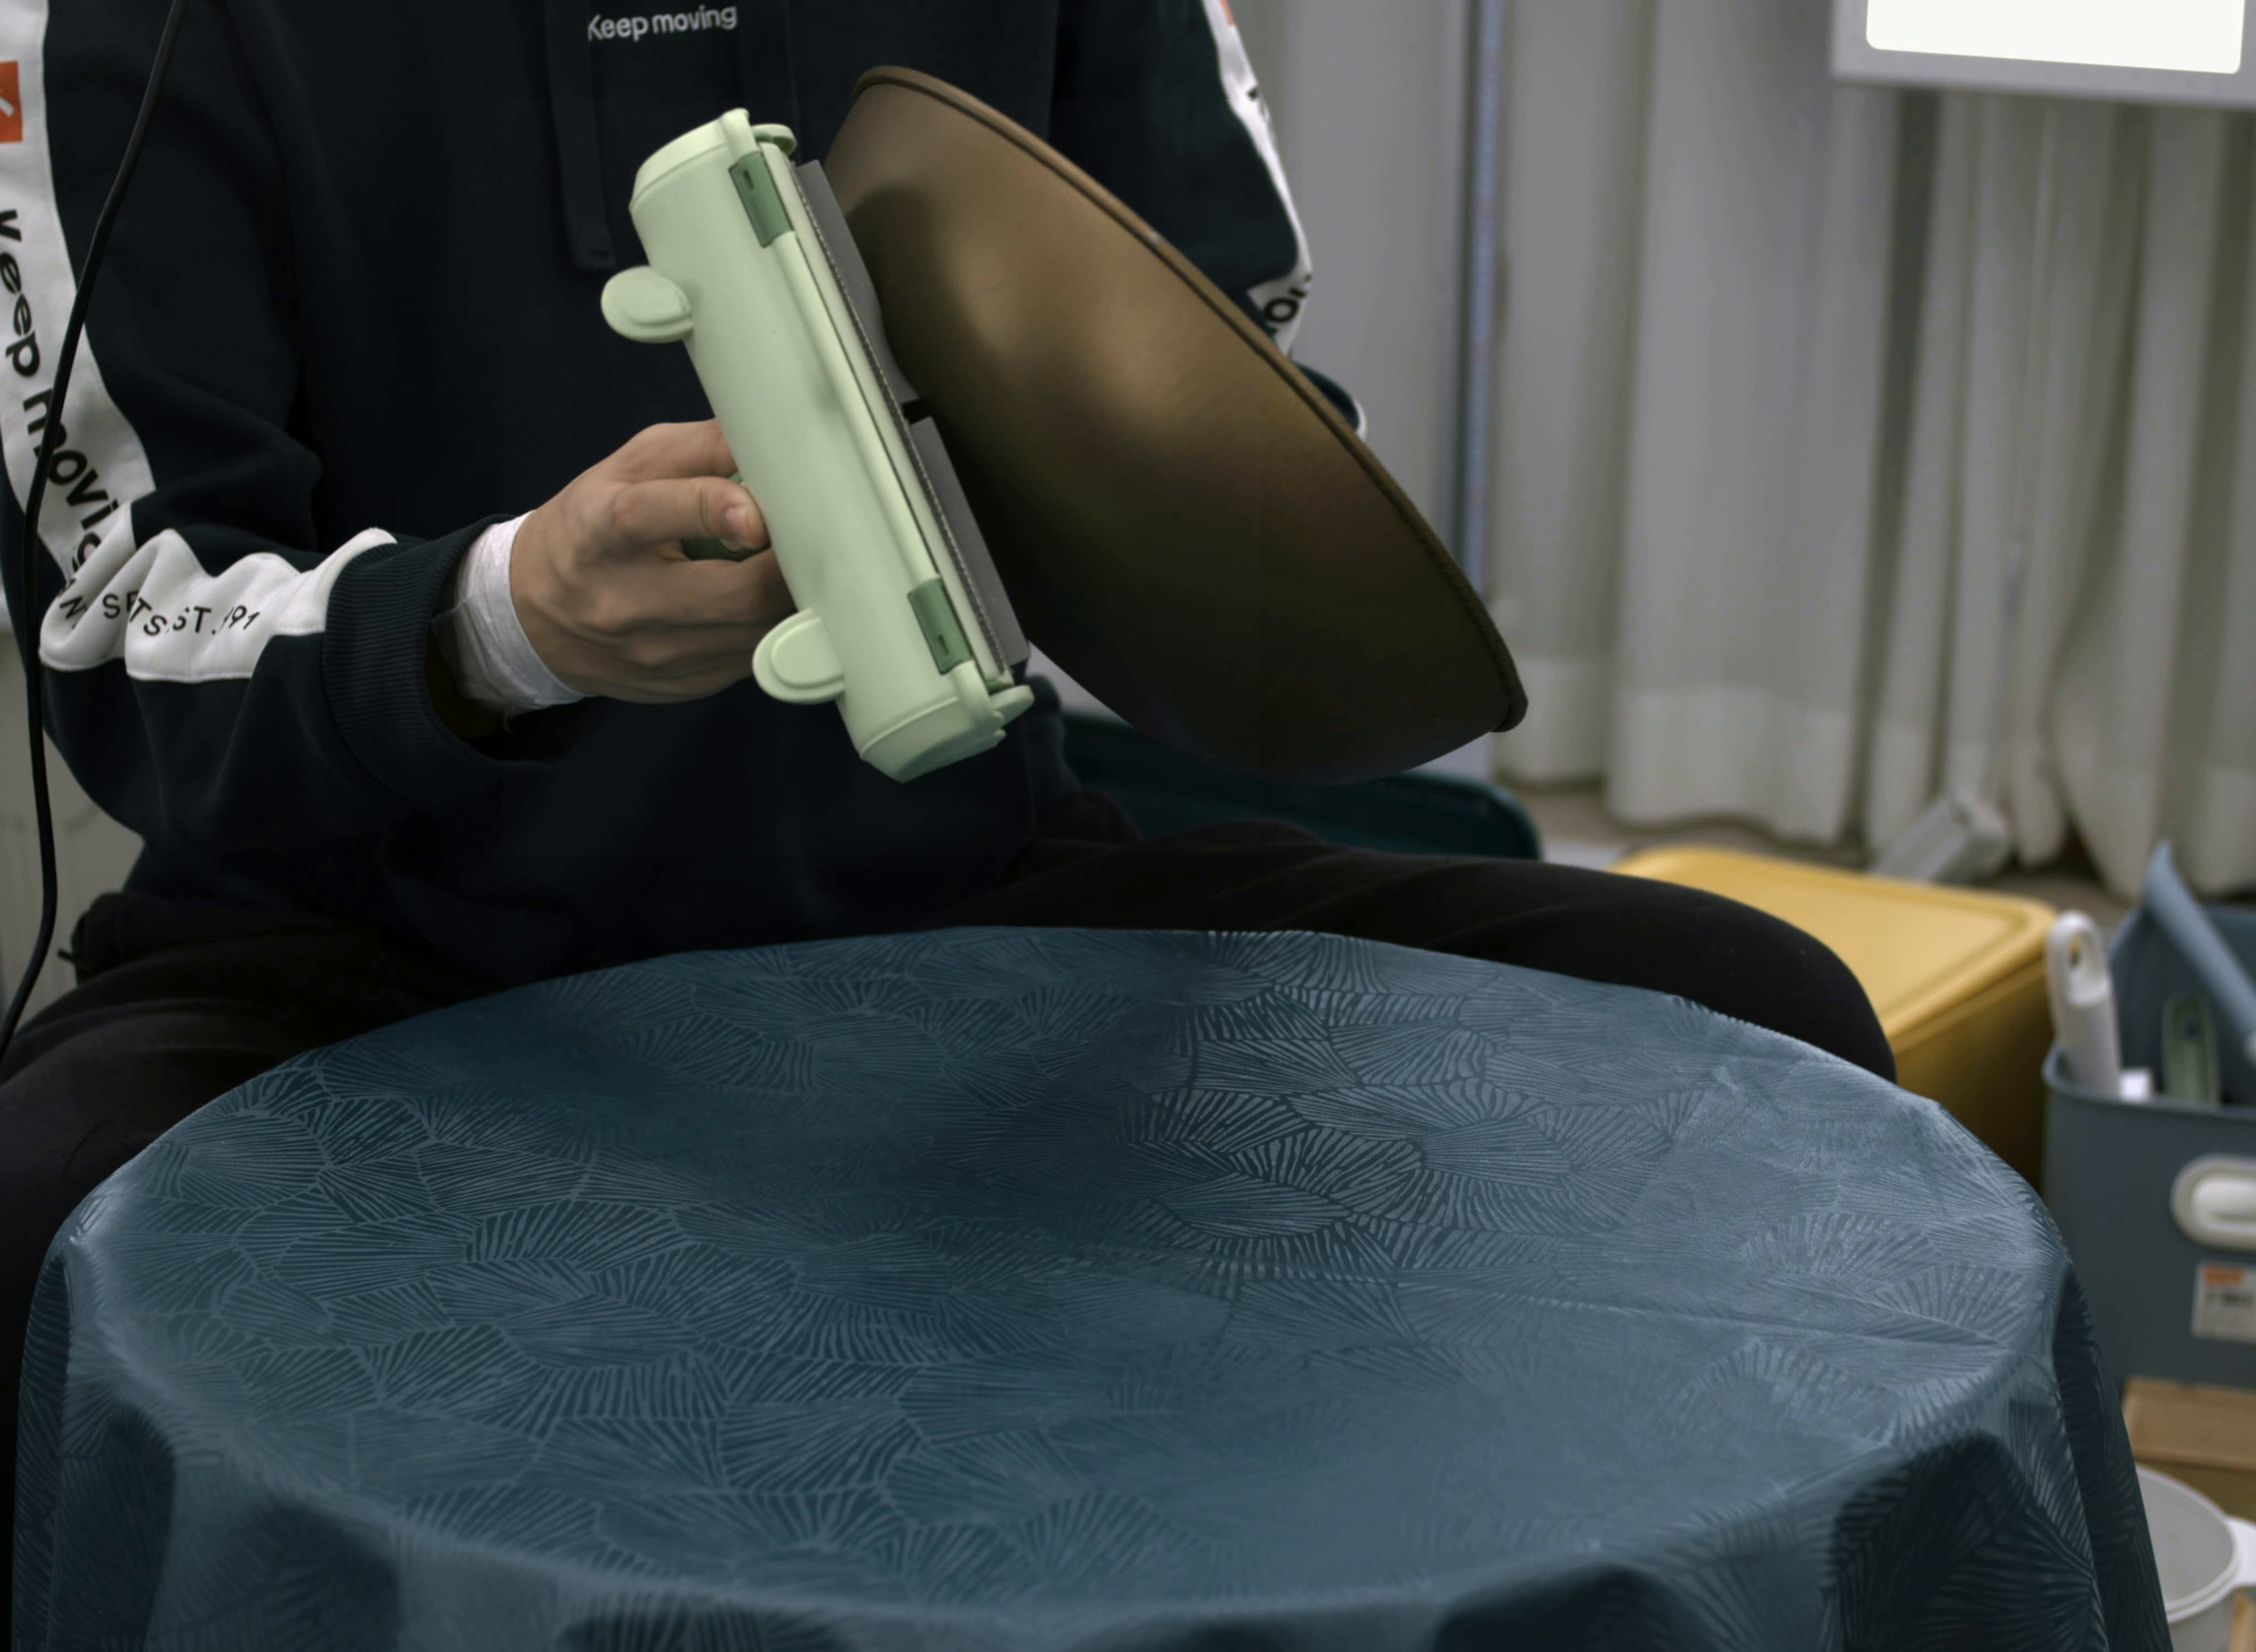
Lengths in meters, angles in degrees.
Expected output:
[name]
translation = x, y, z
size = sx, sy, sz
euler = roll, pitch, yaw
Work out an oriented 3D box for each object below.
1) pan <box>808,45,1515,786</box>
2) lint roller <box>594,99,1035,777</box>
[pan]
translation = 0.003, -0.078, 1.691
size = 0.286, 0.087, 0.467
euler = 43, -8, 17
[lint roller]
translation = -0.121, -0.091, 1.559
size = 0.082, 0.198, 0.183
euler = -19, -9, -37
